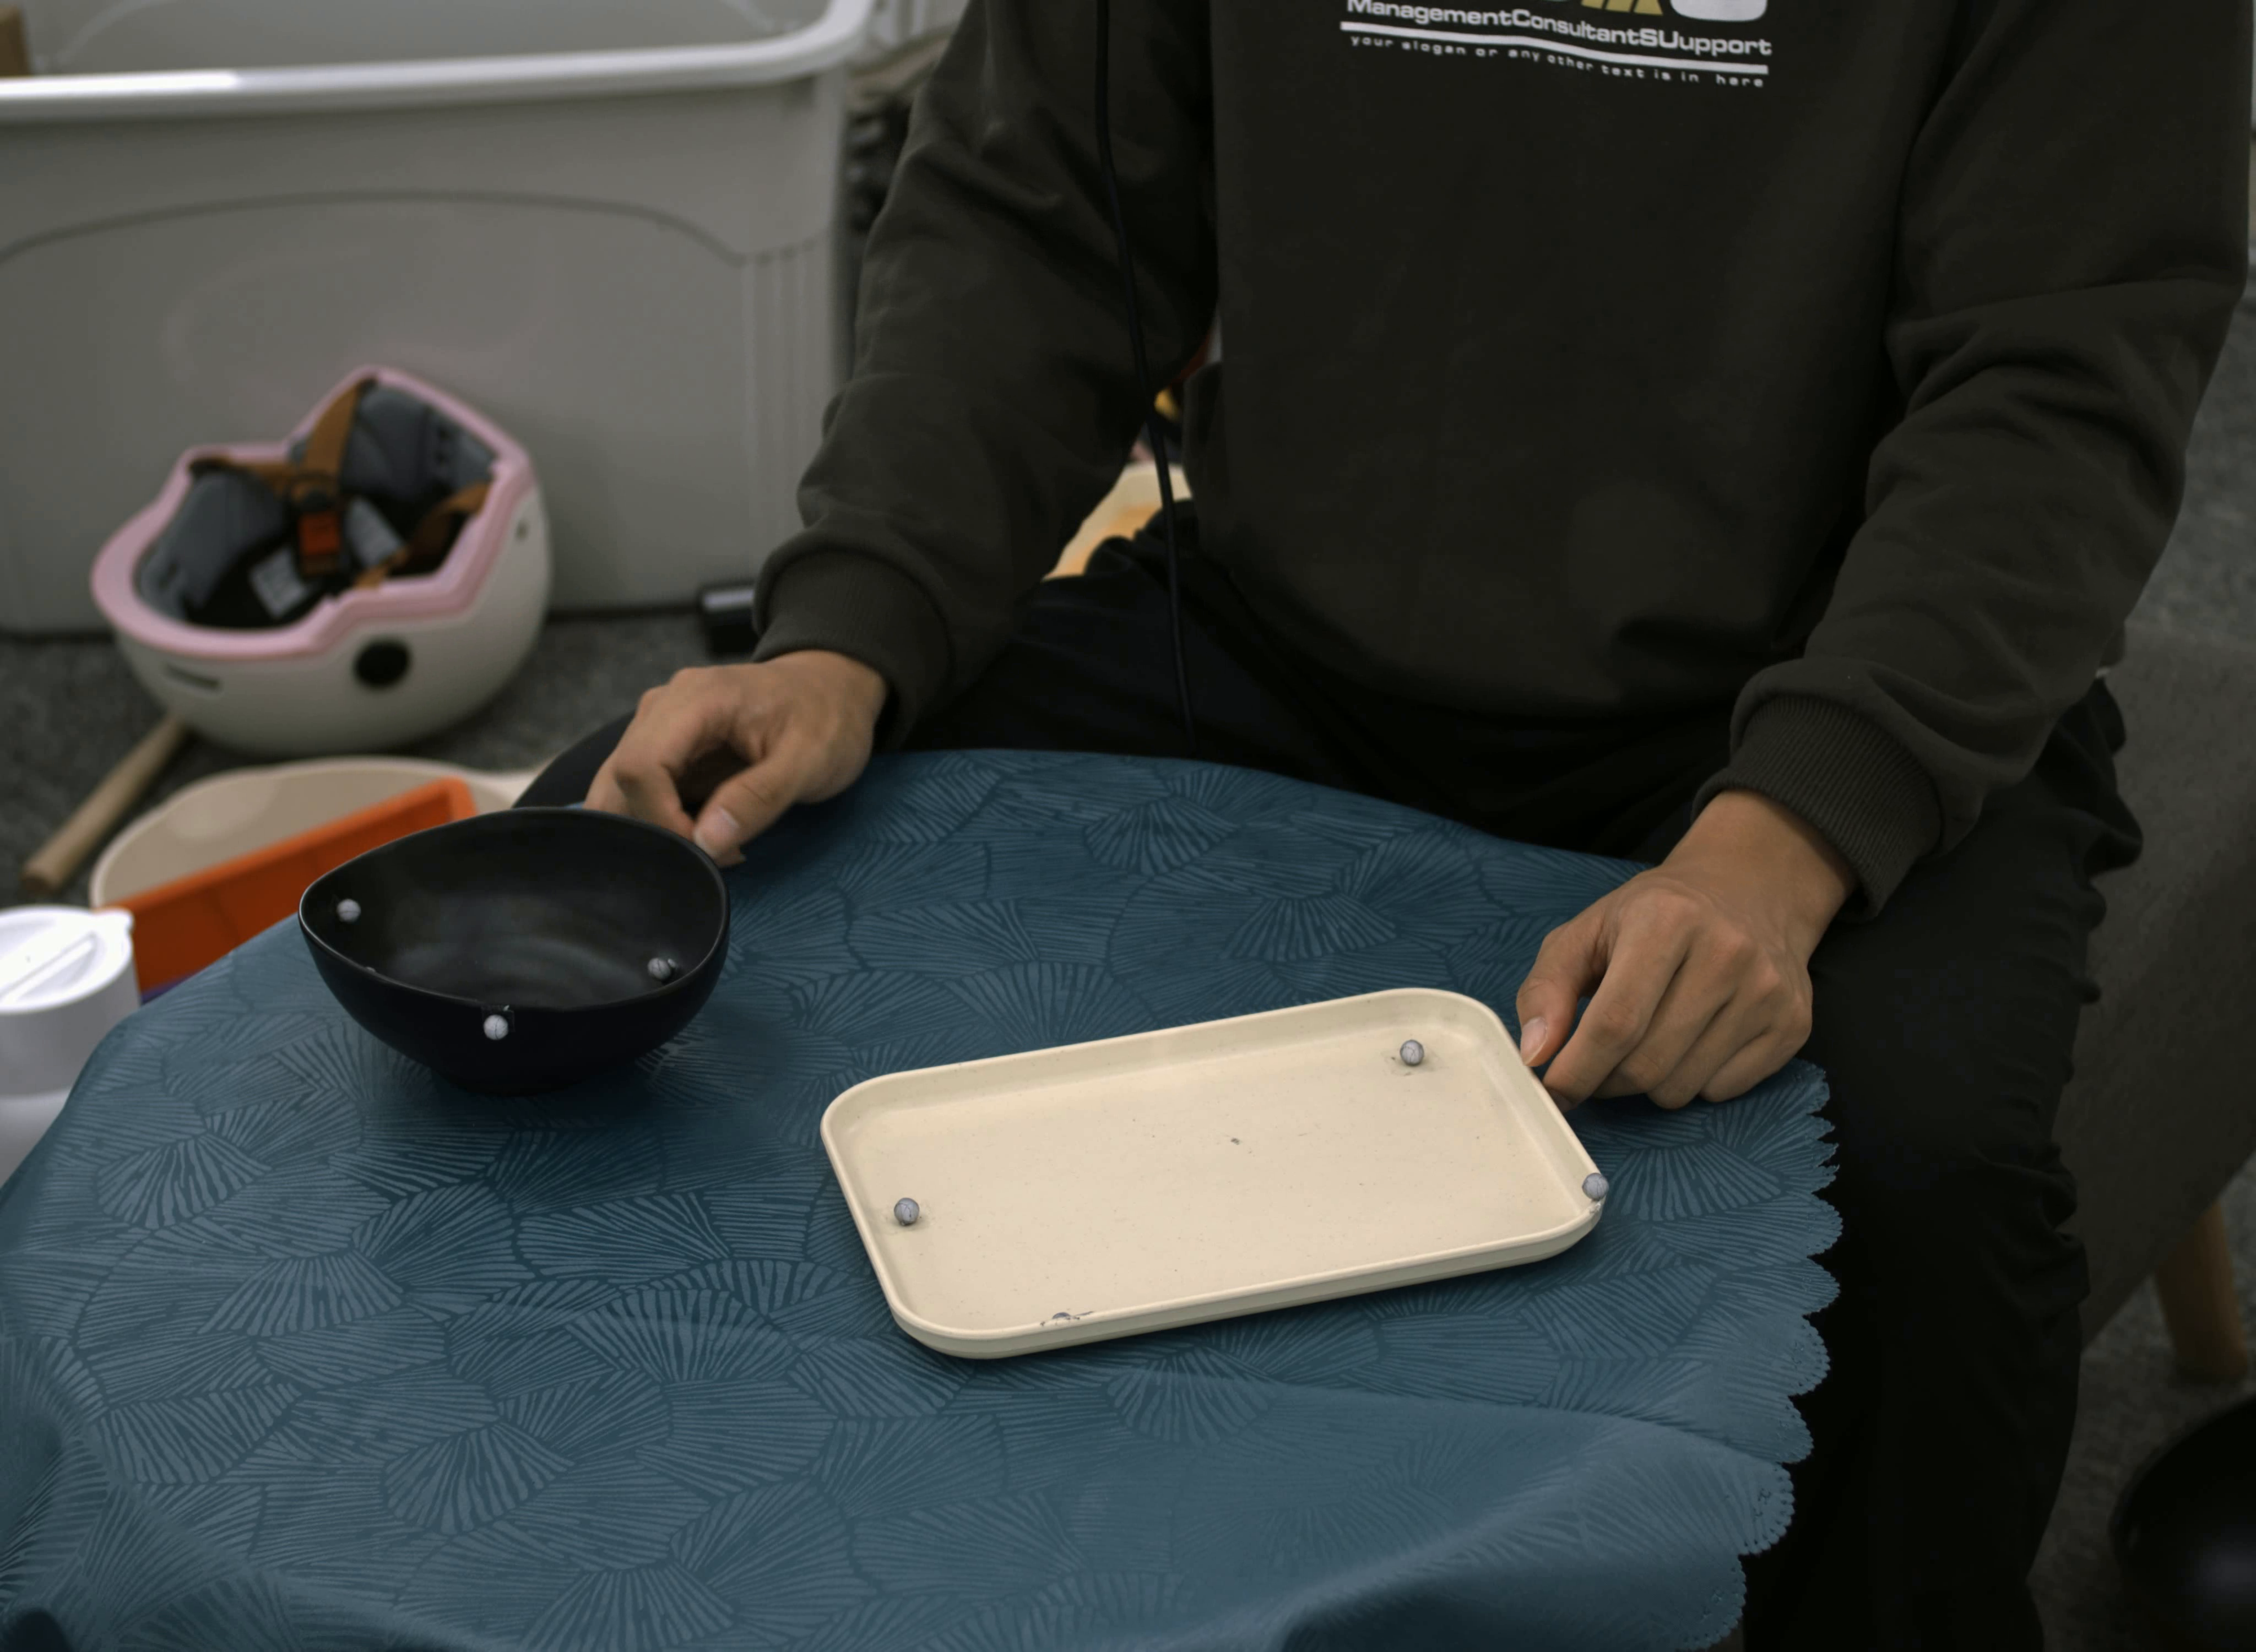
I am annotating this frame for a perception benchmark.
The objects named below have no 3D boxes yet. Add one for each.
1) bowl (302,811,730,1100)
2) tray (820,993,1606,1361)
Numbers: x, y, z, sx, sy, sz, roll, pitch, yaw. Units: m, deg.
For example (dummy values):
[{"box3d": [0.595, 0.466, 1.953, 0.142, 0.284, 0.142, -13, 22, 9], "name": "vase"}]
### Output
[{"box3d": [-0.212, 0.053, 1.949, 0.170, 0.066, 0.139, 20, 34, 40], "name": "bowl"}, {"box3d": [0.026, 0.116, 1.856, 0.239, 0.017, 0.173, -9, 27, -12], "name": "tray"}]
